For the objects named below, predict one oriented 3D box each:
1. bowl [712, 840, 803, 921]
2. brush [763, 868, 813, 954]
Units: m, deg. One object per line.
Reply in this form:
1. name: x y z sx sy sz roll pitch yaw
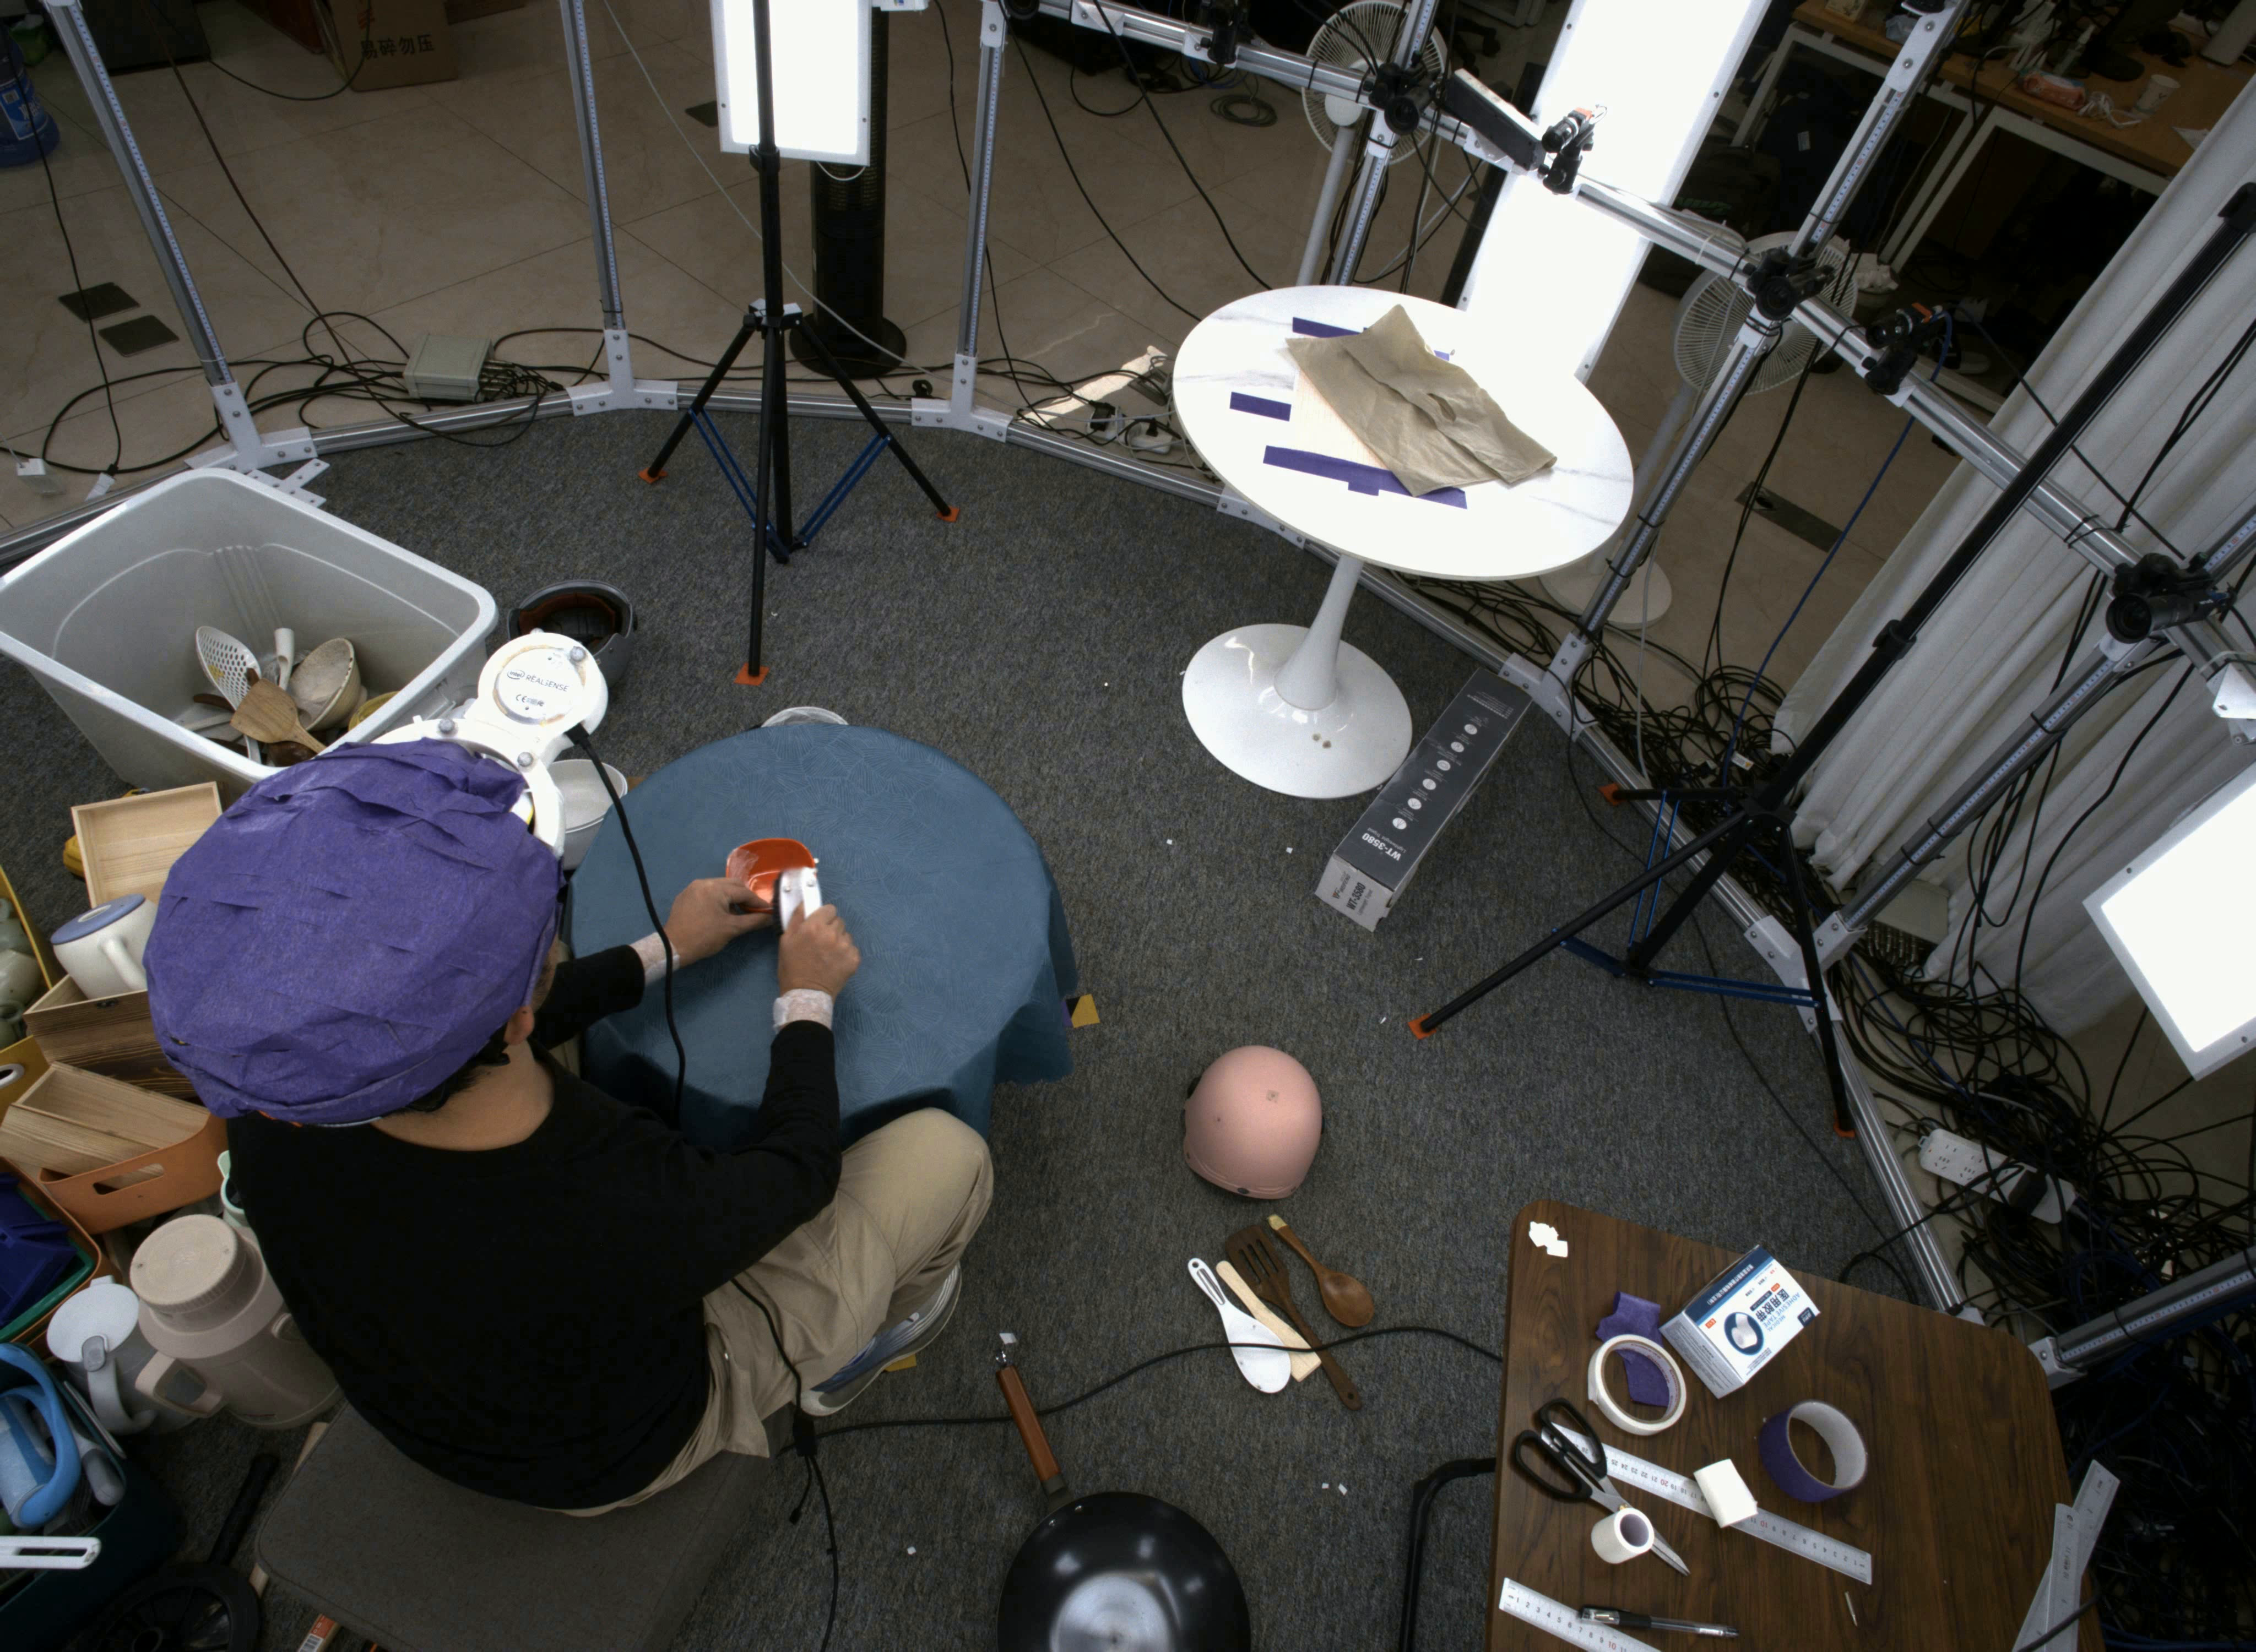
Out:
1. bowl: -0.462 0.075 1.620 0.118 0.052 0.117 8 51 -8
2. brush: -0.398 0.097 1.542 0.051 0.071 0.099 3 79 -36
